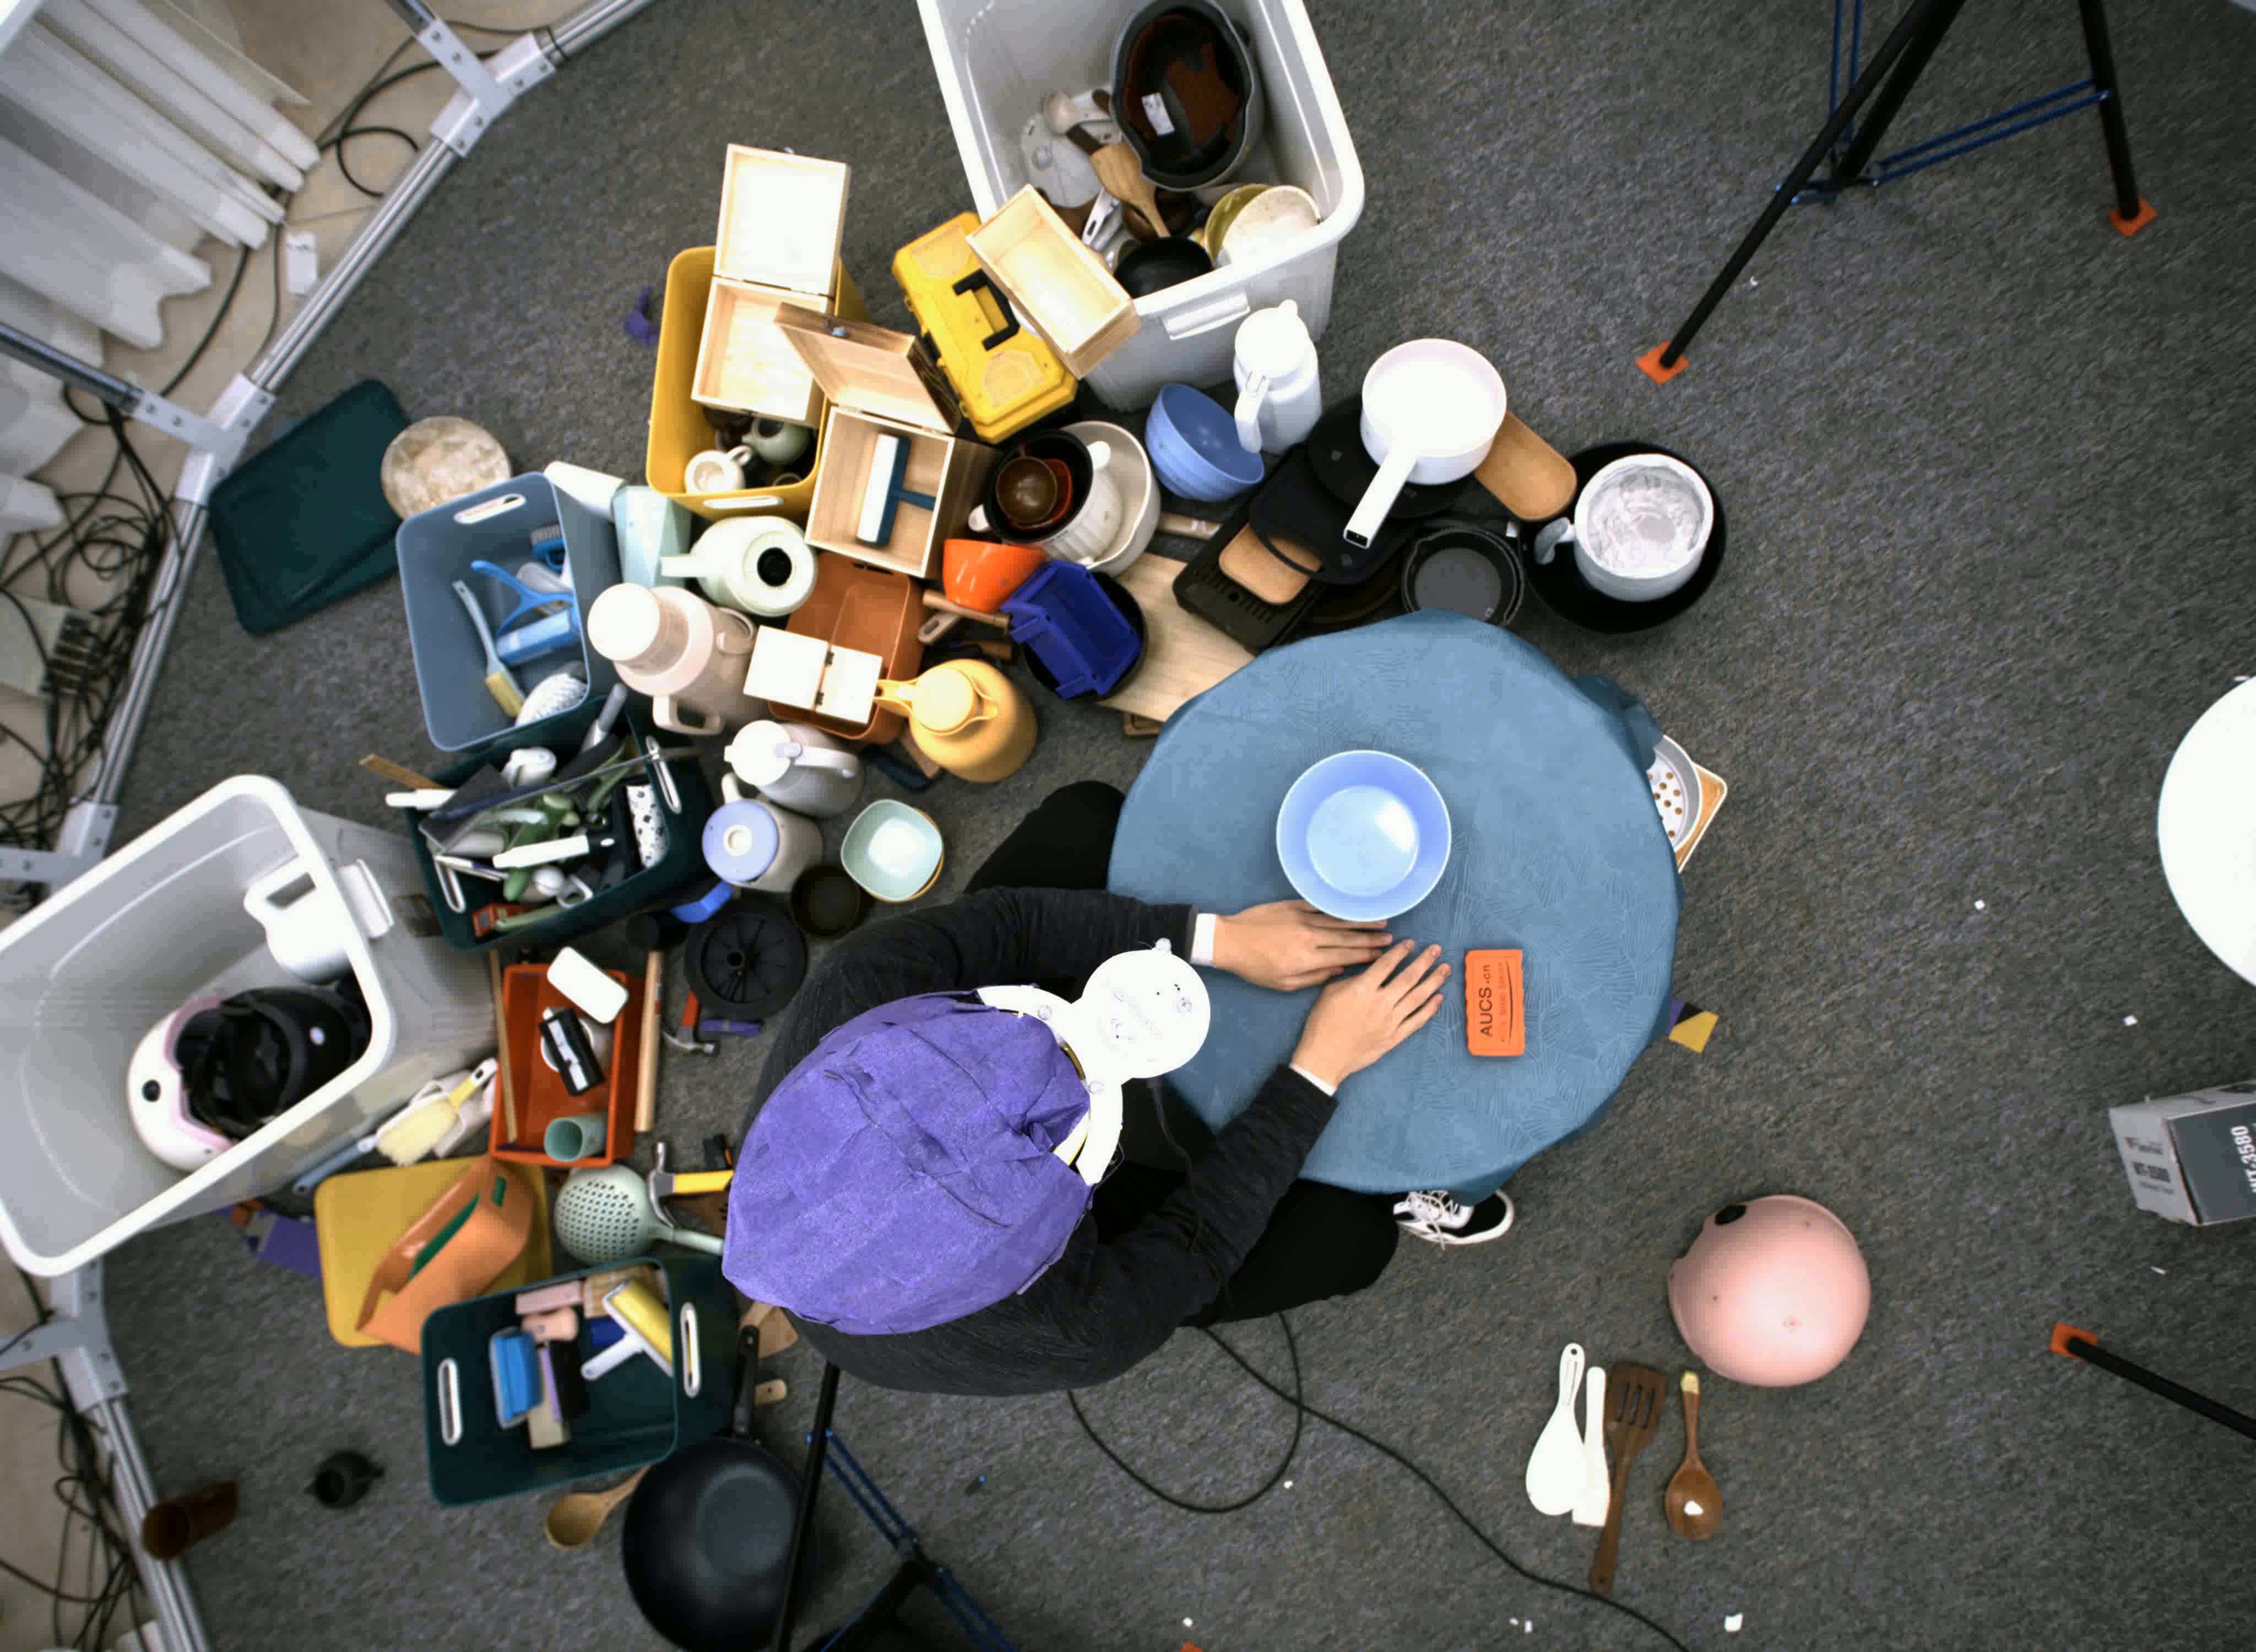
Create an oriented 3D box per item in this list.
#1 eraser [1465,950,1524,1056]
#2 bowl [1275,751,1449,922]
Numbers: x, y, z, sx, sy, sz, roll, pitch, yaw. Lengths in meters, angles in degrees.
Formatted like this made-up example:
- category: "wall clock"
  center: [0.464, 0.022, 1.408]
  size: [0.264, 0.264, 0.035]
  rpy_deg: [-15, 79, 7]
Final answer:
- category: "eraser"
  center: [0.378, 0.180, 1.422]
  size: [0.059, 0.023, 0.107]
  rpy_deg: [-1, 87, 9]
- category: "bowl"
  center: [0.242, 0.012, 1.433]
  size: [0.177, 0.070, 0.175]
  rpy_deg: [-1, 86, 10]
